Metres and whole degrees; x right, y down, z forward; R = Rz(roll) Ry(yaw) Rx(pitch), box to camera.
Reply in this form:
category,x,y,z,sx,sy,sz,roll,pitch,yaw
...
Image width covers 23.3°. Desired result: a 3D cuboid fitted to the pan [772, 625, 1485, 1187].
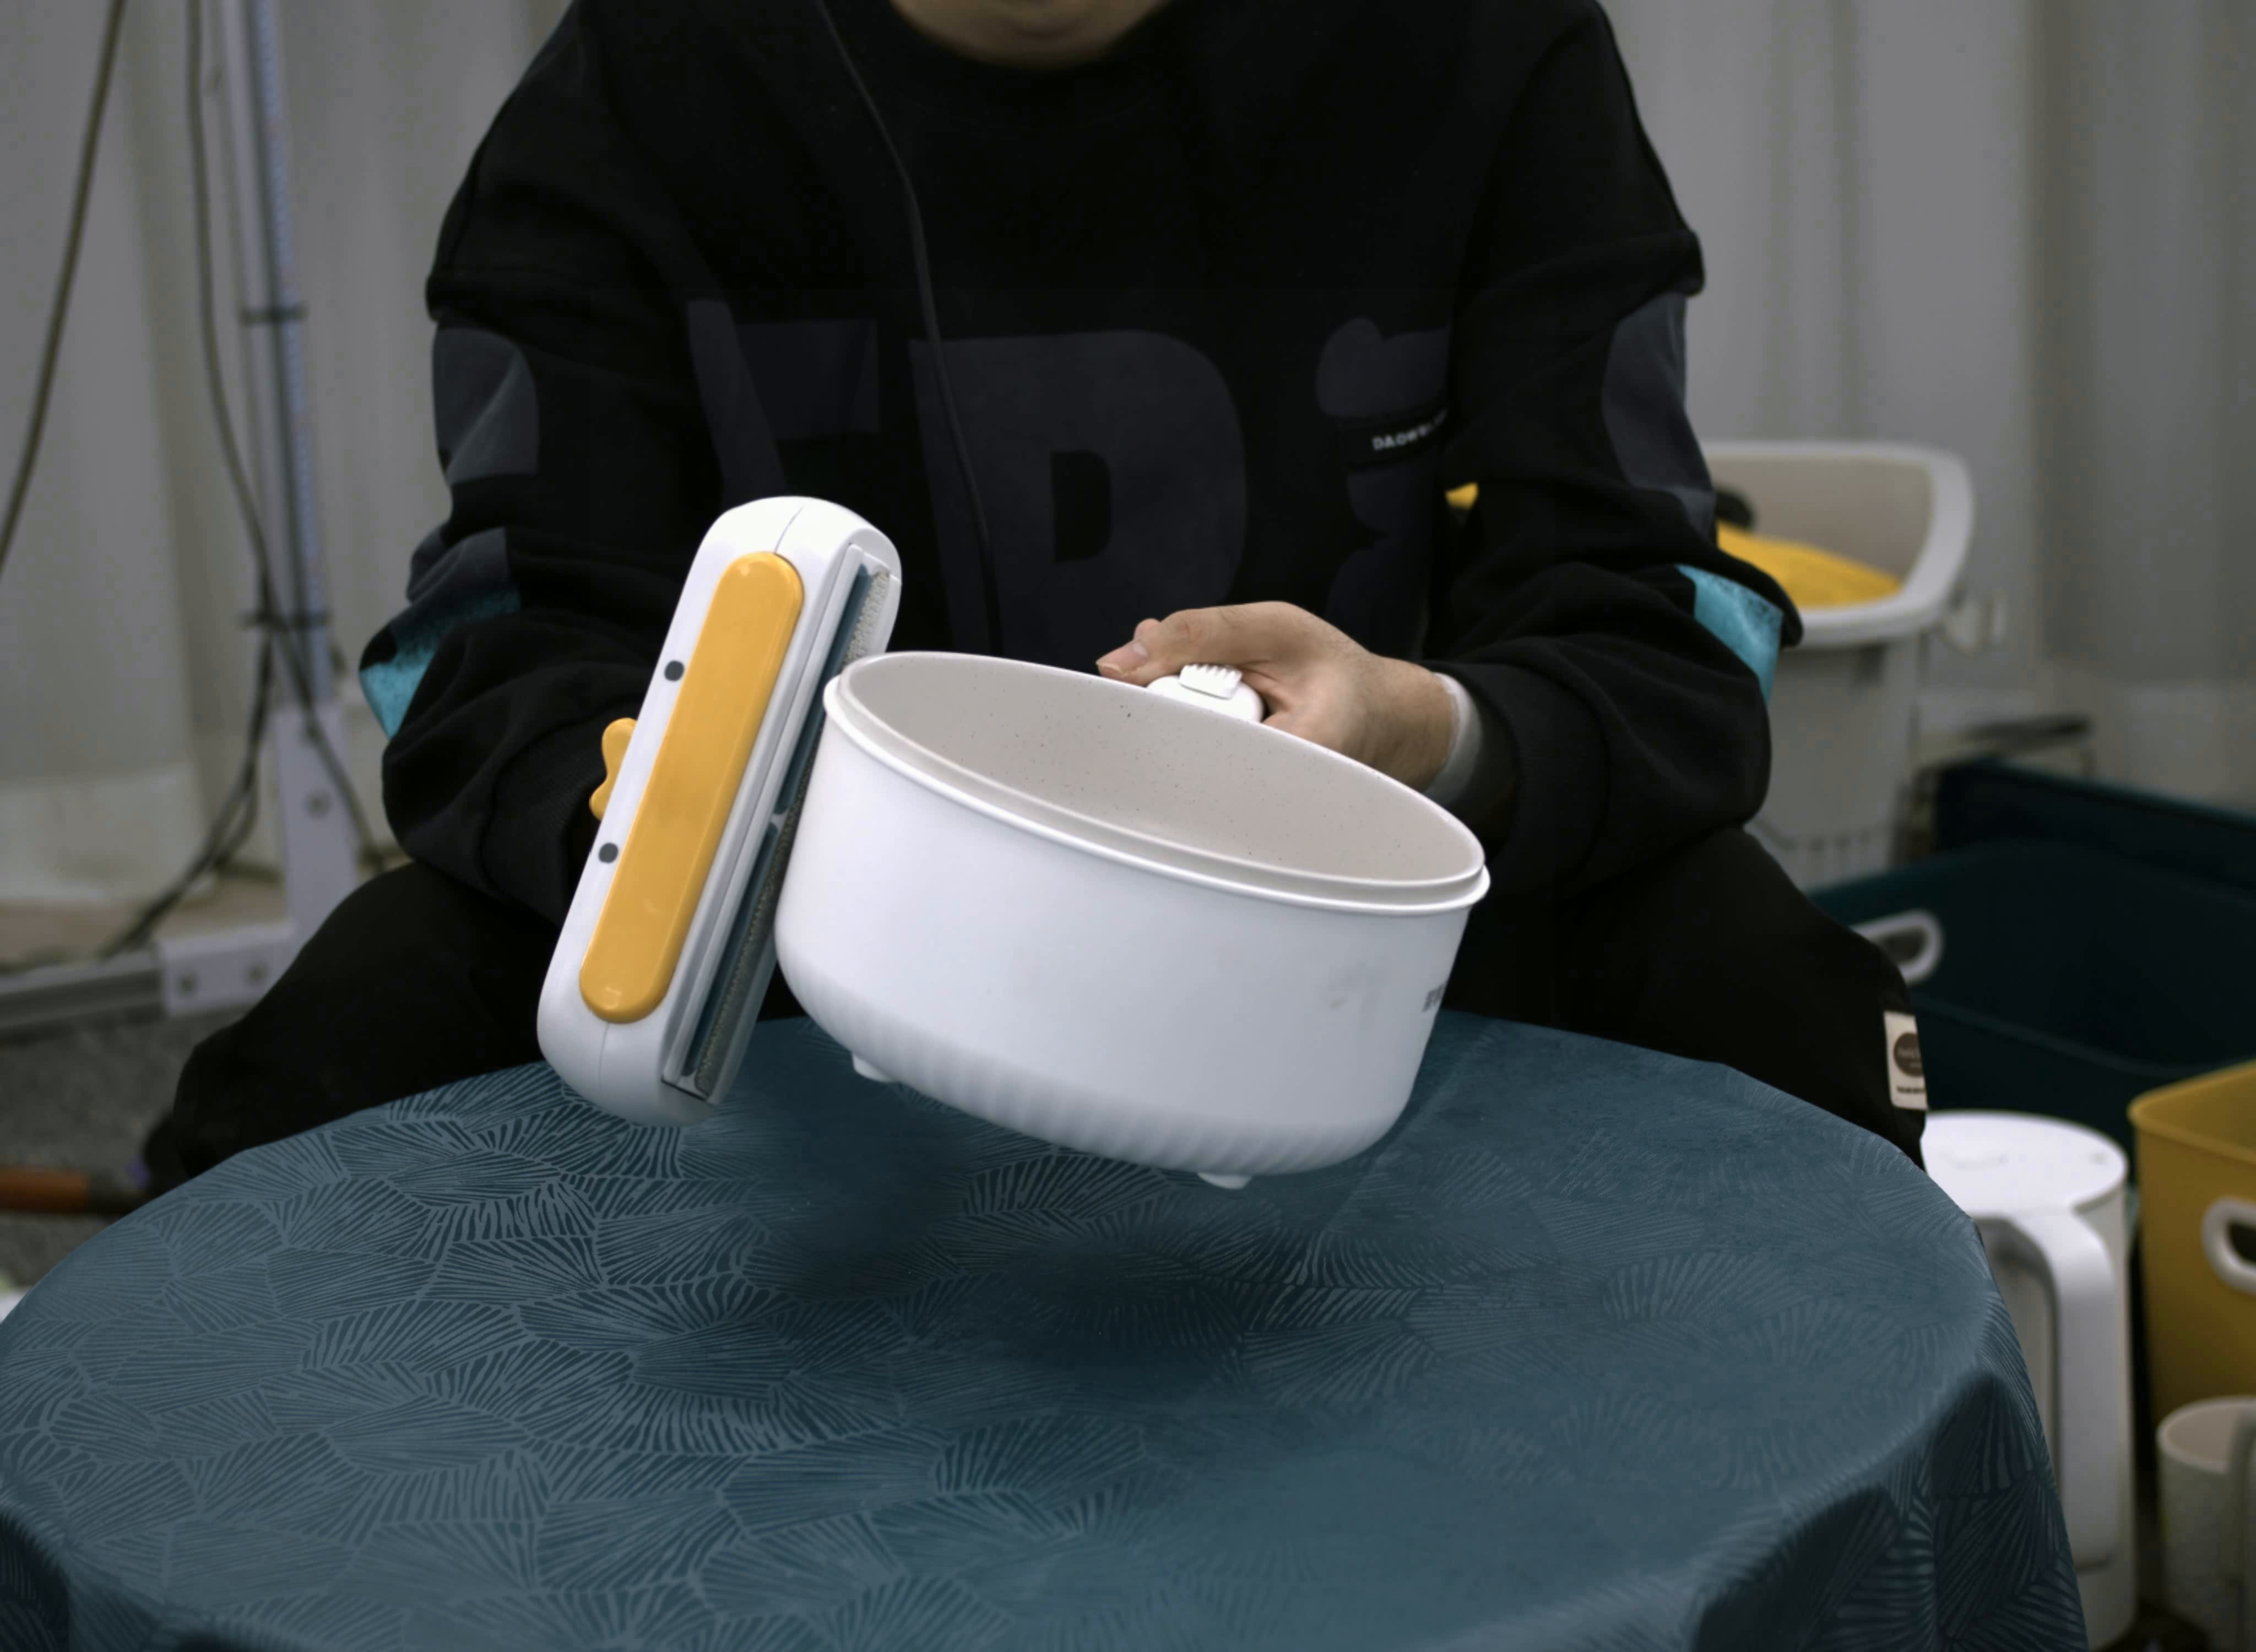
category,x,y,z,sx,sy,sz,roll,pitch,yaw
pan,0.004,0.014,1.672,0.201,0.102,0.356,16,12,3

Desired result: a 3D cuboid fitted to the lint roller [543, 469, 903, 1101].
category,x,y,z,sx,sy,sz,roll,pitch,yaw
lint roller,-0.118,0.000,1.683,0.074,0.194,0.191,12,-13,11
